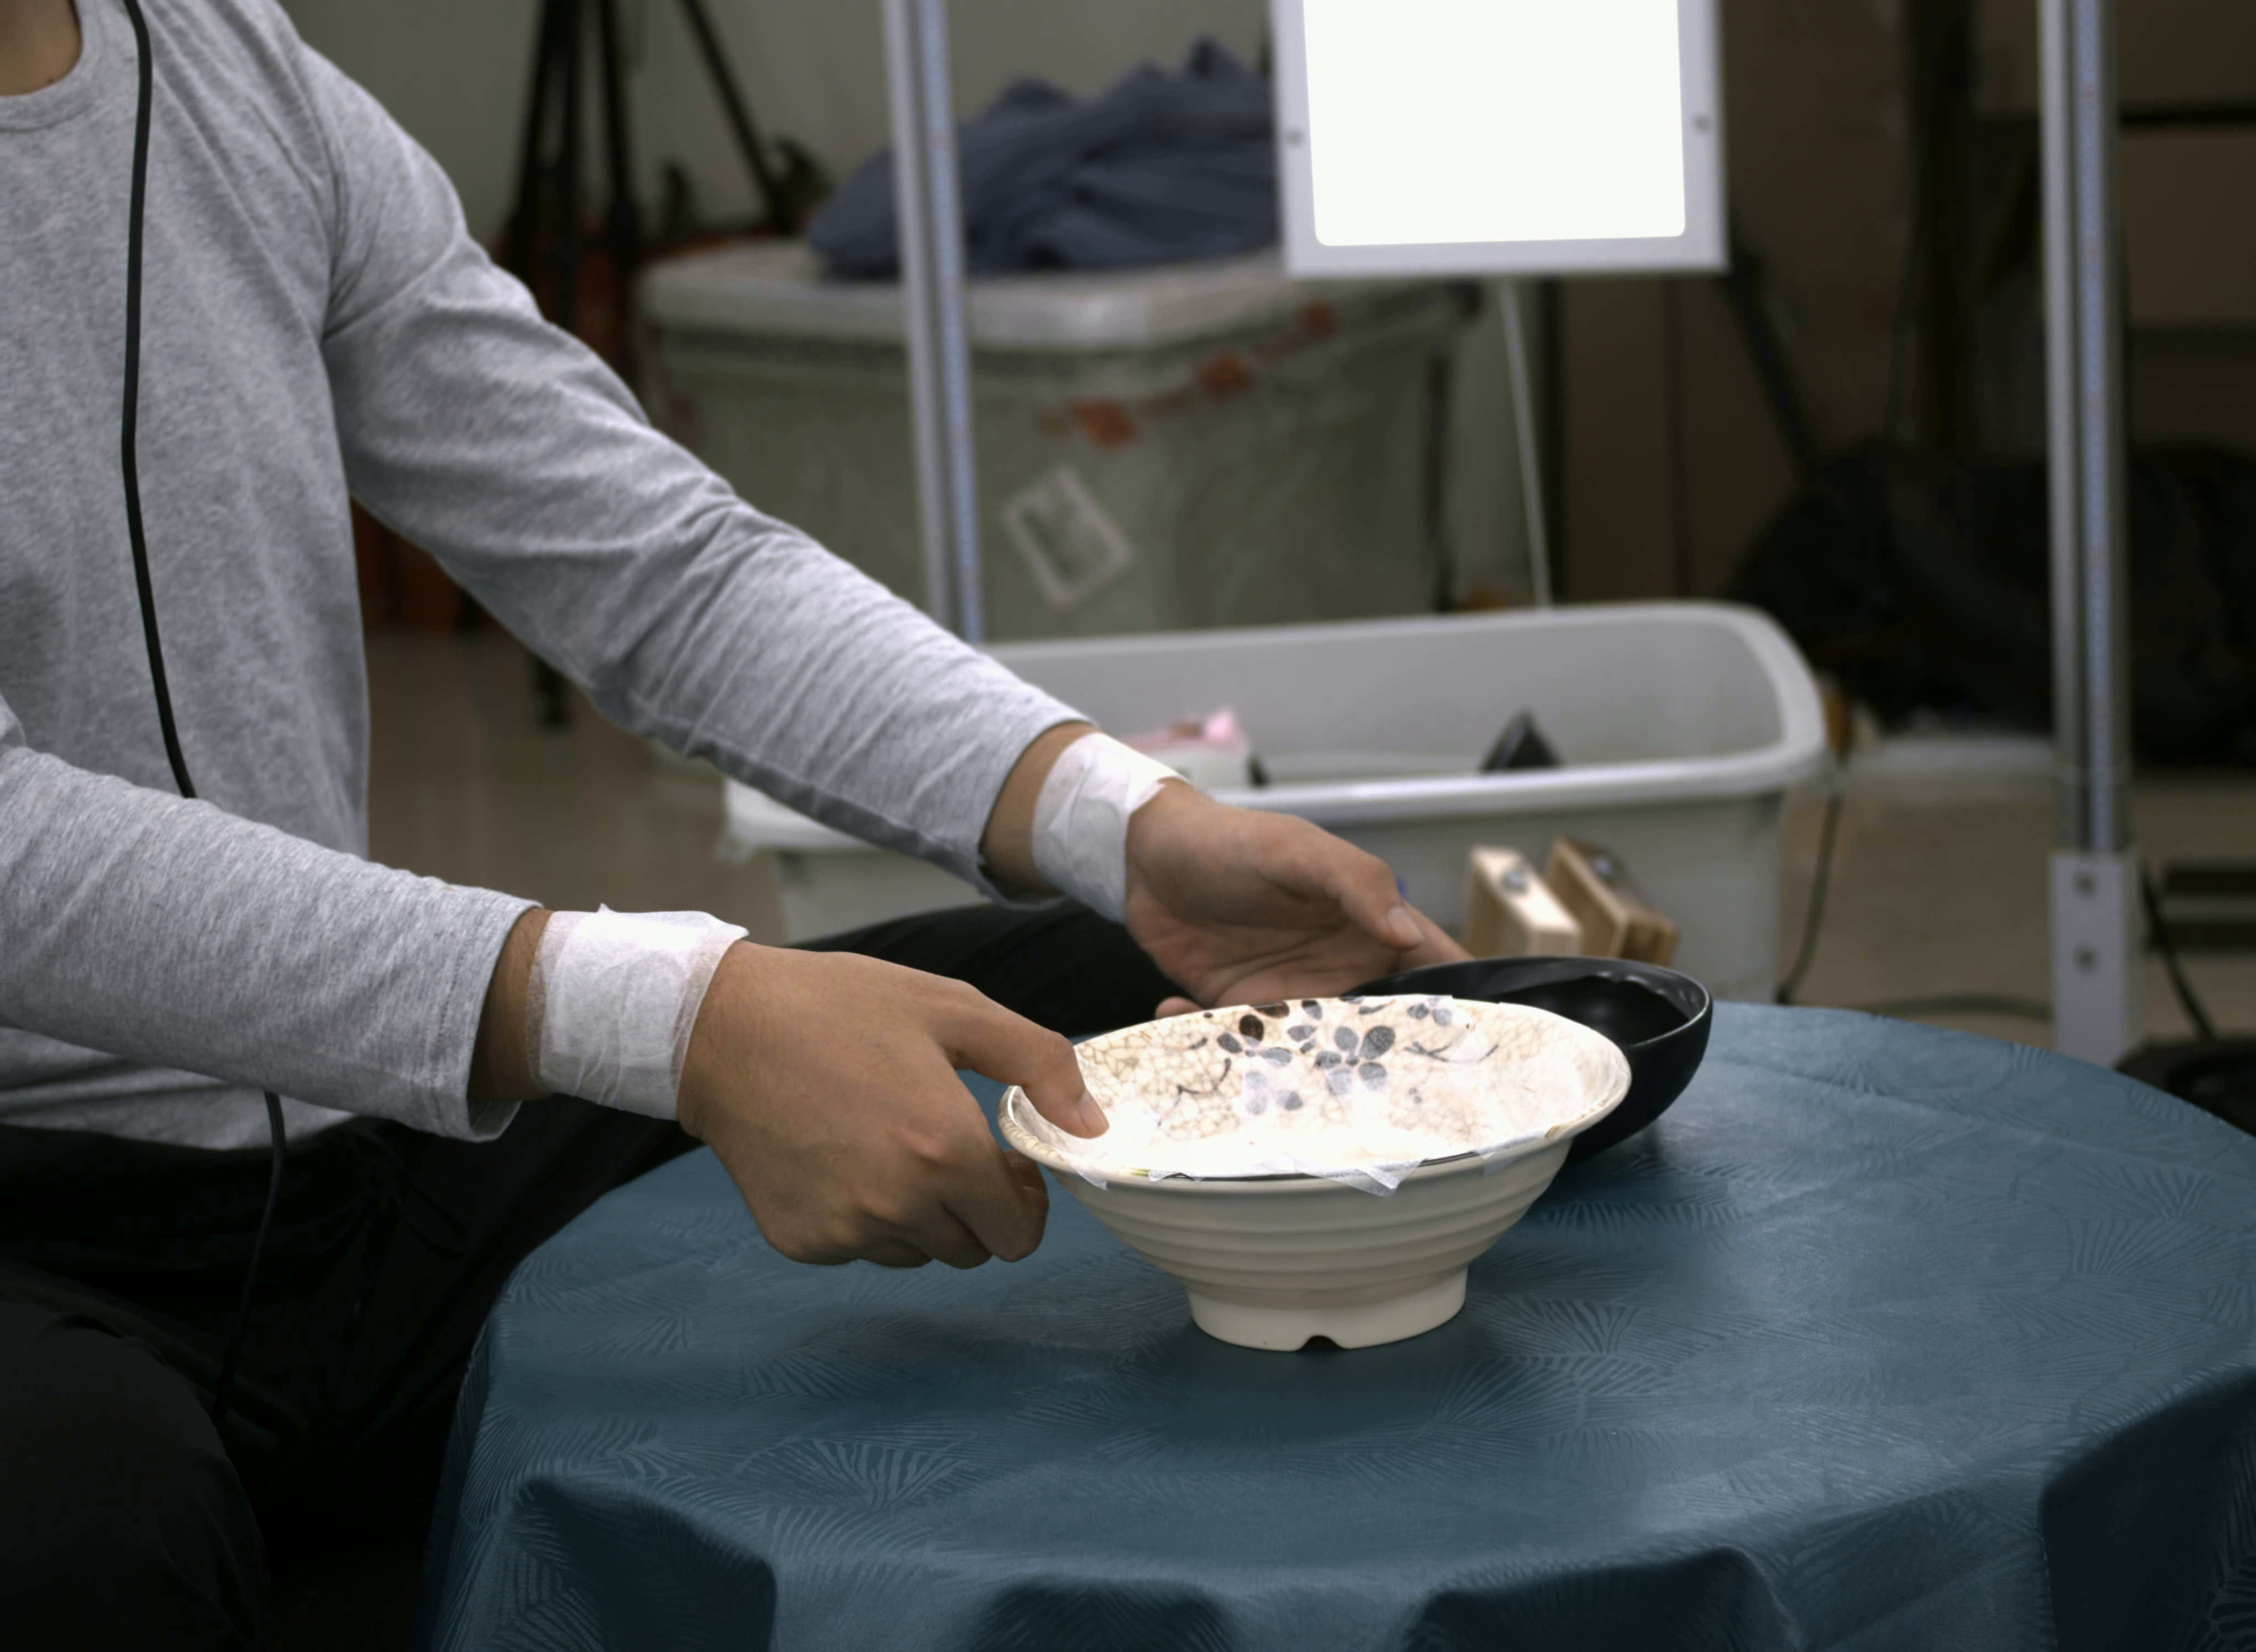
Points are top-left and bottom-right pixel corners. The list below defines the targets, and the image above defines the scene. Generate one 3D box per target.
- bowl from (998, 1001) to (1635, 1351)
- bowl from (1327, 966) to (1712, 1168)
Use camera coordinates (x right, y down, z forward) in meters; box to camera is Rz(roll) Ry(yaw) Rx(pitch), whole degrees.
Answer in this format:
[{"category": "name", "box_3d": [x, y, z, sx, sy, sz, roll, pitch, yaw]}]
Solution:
[{"category": "bowl", "box_3d": [0.063, 0.117, 1.753, 0.203, 0.078, 0.204, -6, 12, 0]}, {"category": "bowl", "box_3d": [0.136, 0.088, 1.914, 0.139, 0.050, 0.140, -7, 11, 0]}]
